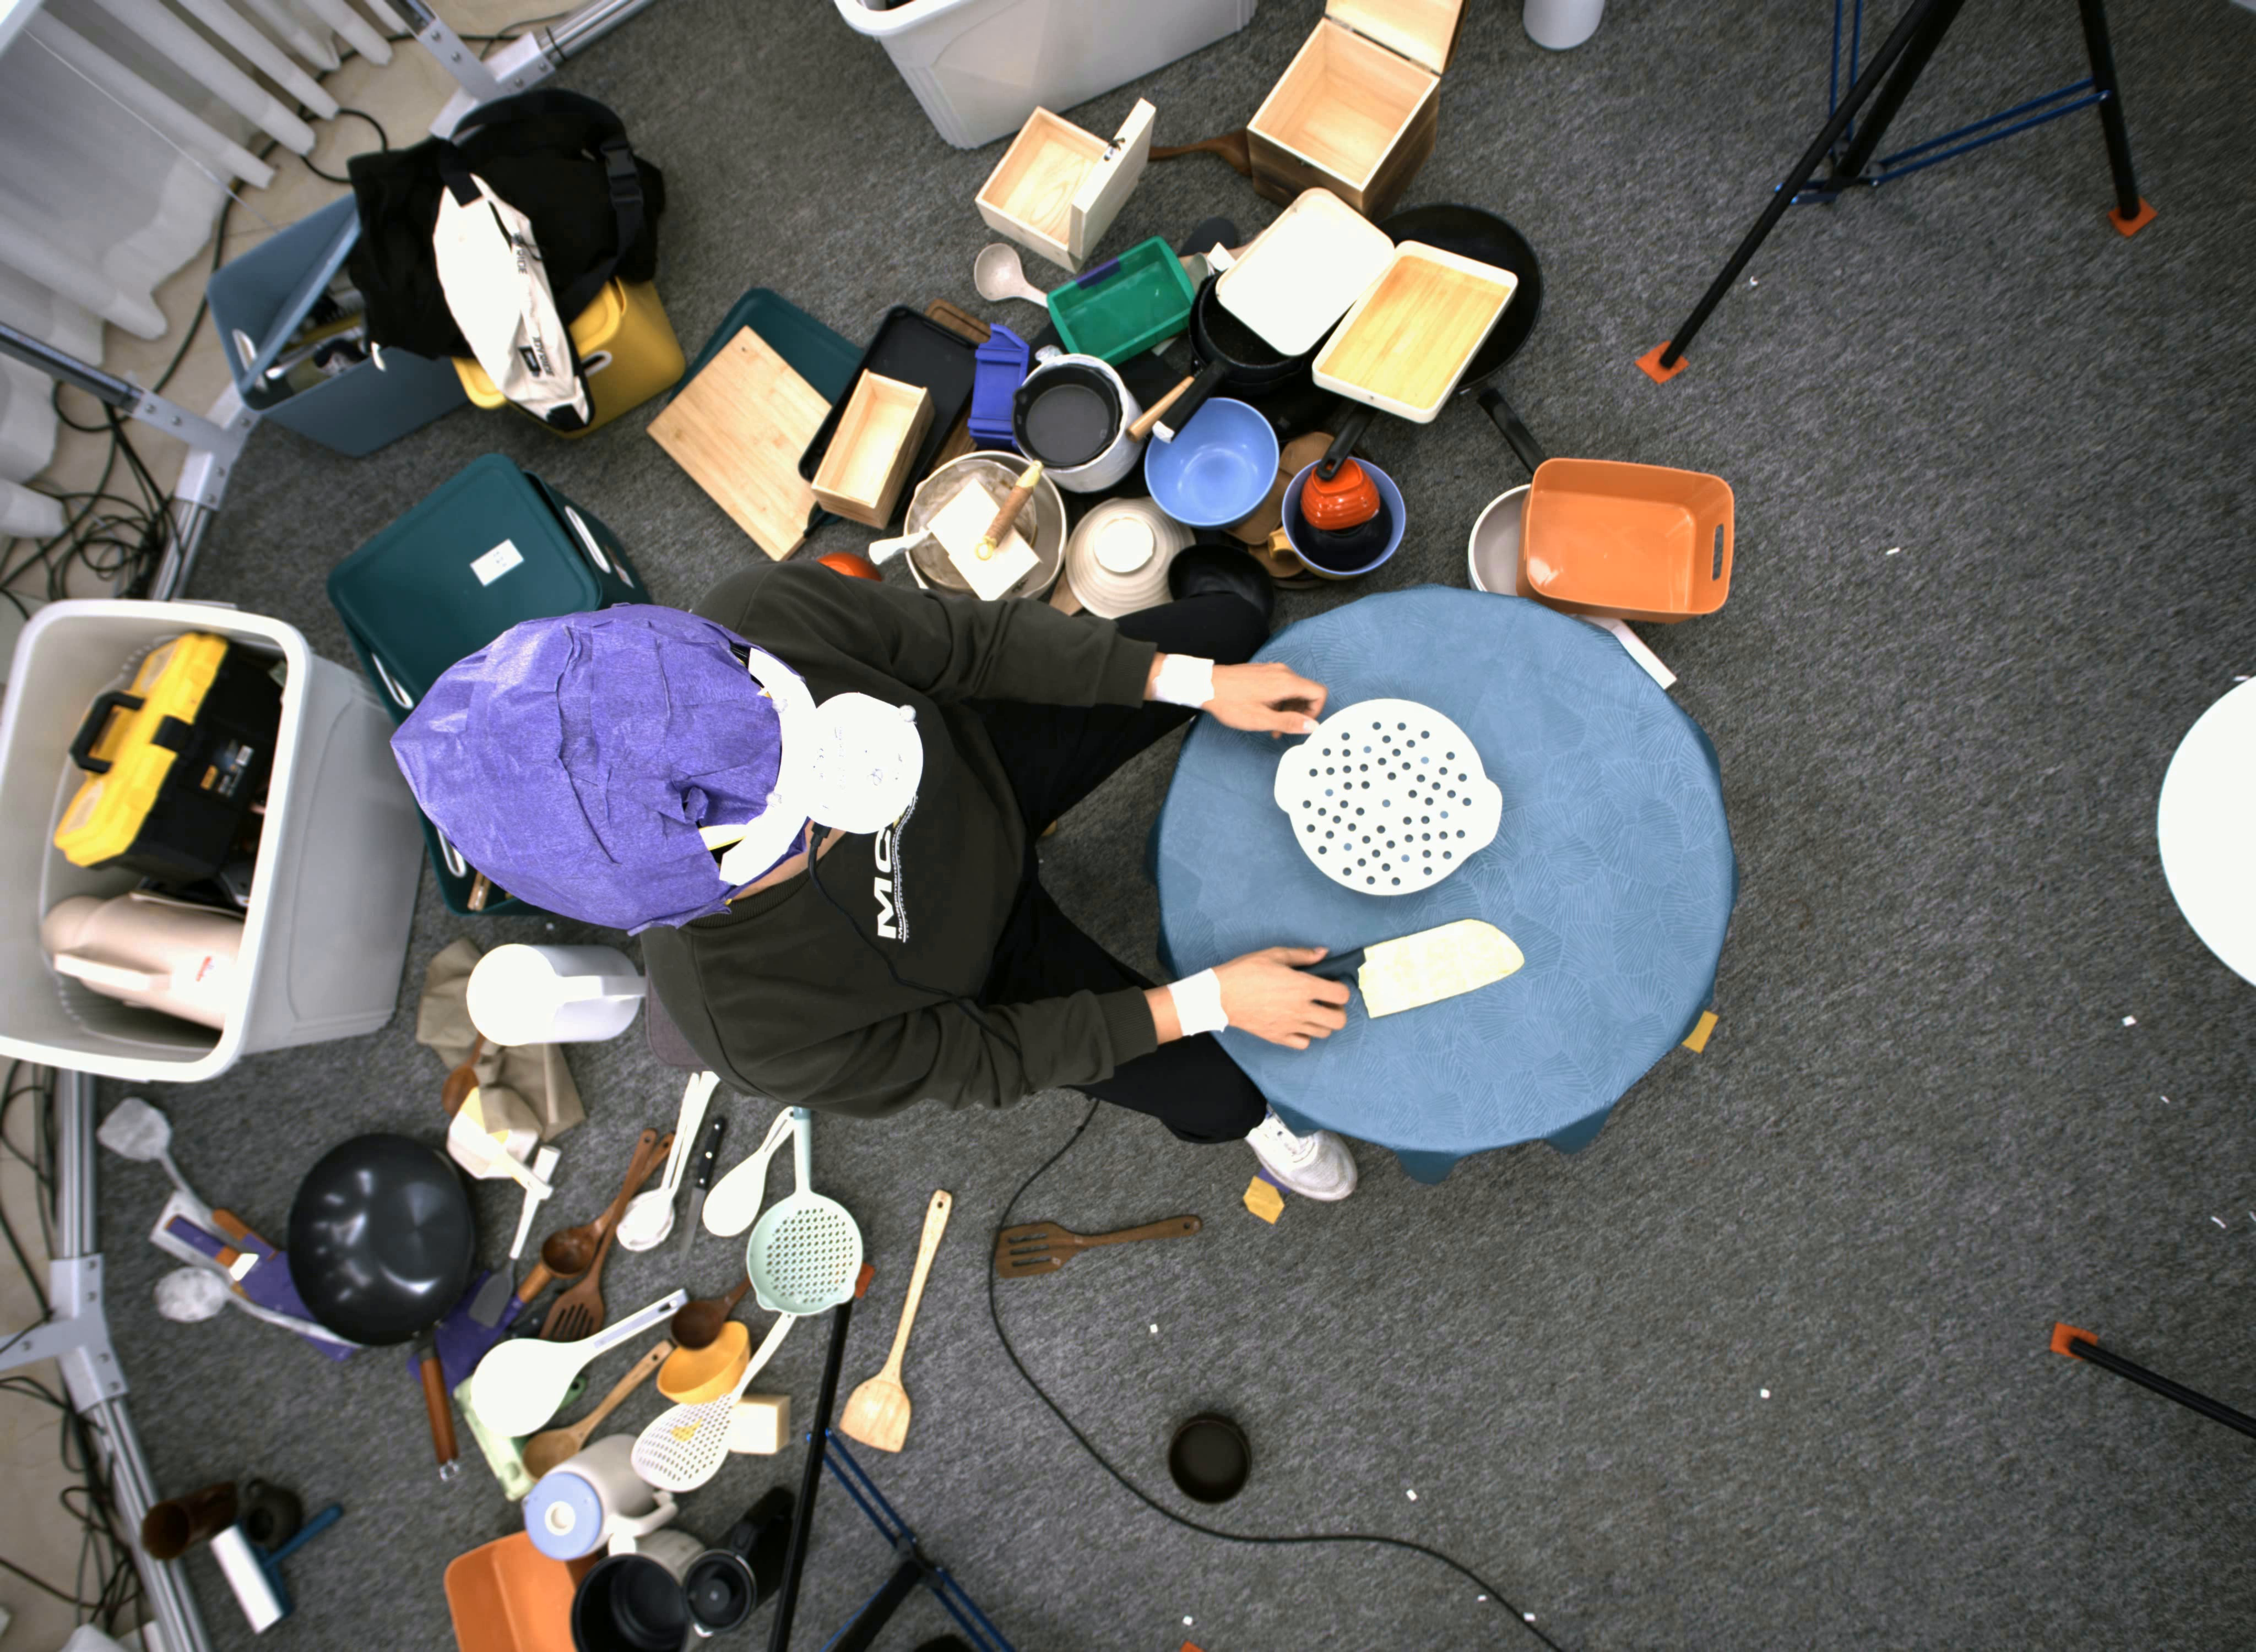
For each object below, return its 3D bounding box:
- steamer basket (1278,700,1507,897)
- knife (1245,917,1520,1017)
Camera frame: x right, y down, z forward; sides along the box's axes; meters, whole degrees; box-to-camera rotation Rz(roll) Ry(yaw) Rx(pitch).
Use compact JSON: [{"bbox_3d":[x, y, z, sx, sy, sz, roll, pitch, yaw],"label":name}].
[{"bbox_3d":[0.273,-0.027,1.431,0.231,0.069,0.201,12,88,12],"label":"steamer basket"},{"bbox_3d":[0.267,0.156,1.449,0.291,0.027,0.080,-14,85,9],"label":"knife"}]
